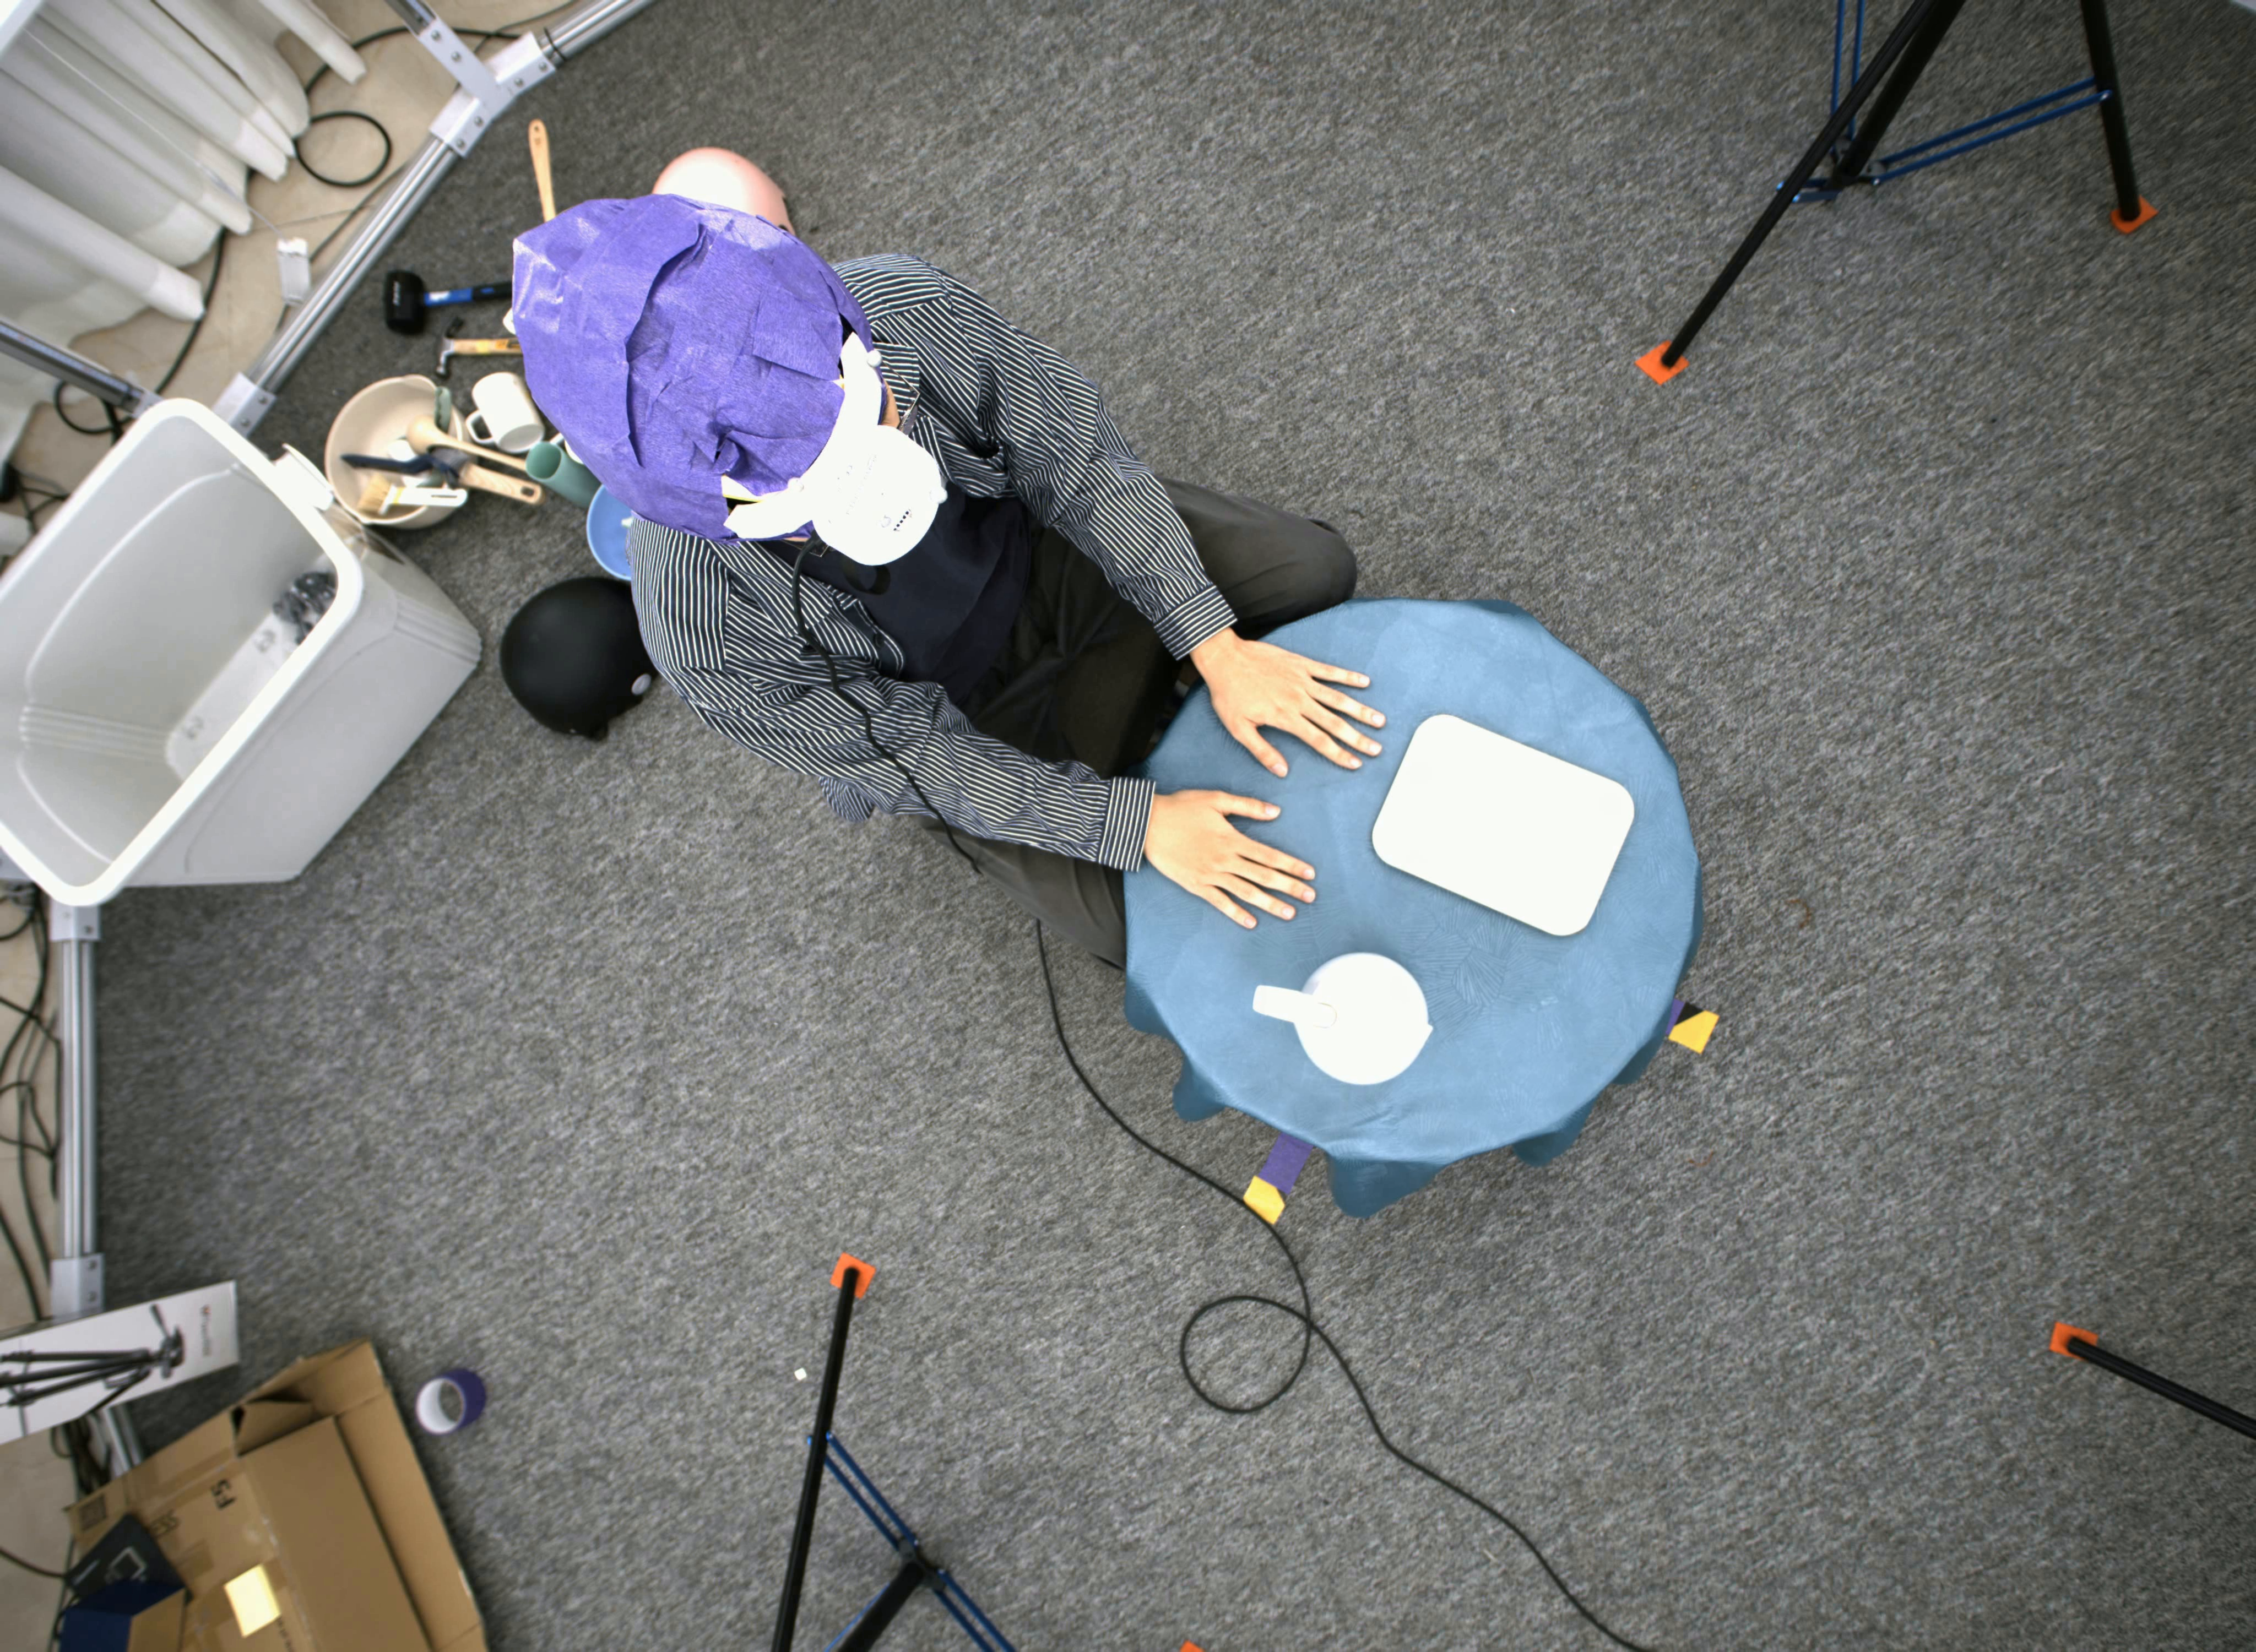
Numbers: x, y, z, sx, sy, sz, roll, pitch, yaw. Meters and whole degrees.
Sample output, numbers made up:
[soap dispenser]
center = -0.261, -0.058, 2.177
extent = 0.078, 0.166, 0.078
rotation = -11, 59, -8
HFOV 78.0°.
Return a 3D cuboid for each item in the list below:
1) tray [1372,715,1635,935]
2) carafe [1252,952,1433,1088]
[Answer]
[tray]
center = 0.387, -0.004, 1.422
extent = 0.239, 0.017, 0.171
rotation = 23, 91, 11
[carafe]
center = 0.205, 0.185, 1.328
extent = 0.168, 0.248, 0.132
rotation = 6, 87, 11
